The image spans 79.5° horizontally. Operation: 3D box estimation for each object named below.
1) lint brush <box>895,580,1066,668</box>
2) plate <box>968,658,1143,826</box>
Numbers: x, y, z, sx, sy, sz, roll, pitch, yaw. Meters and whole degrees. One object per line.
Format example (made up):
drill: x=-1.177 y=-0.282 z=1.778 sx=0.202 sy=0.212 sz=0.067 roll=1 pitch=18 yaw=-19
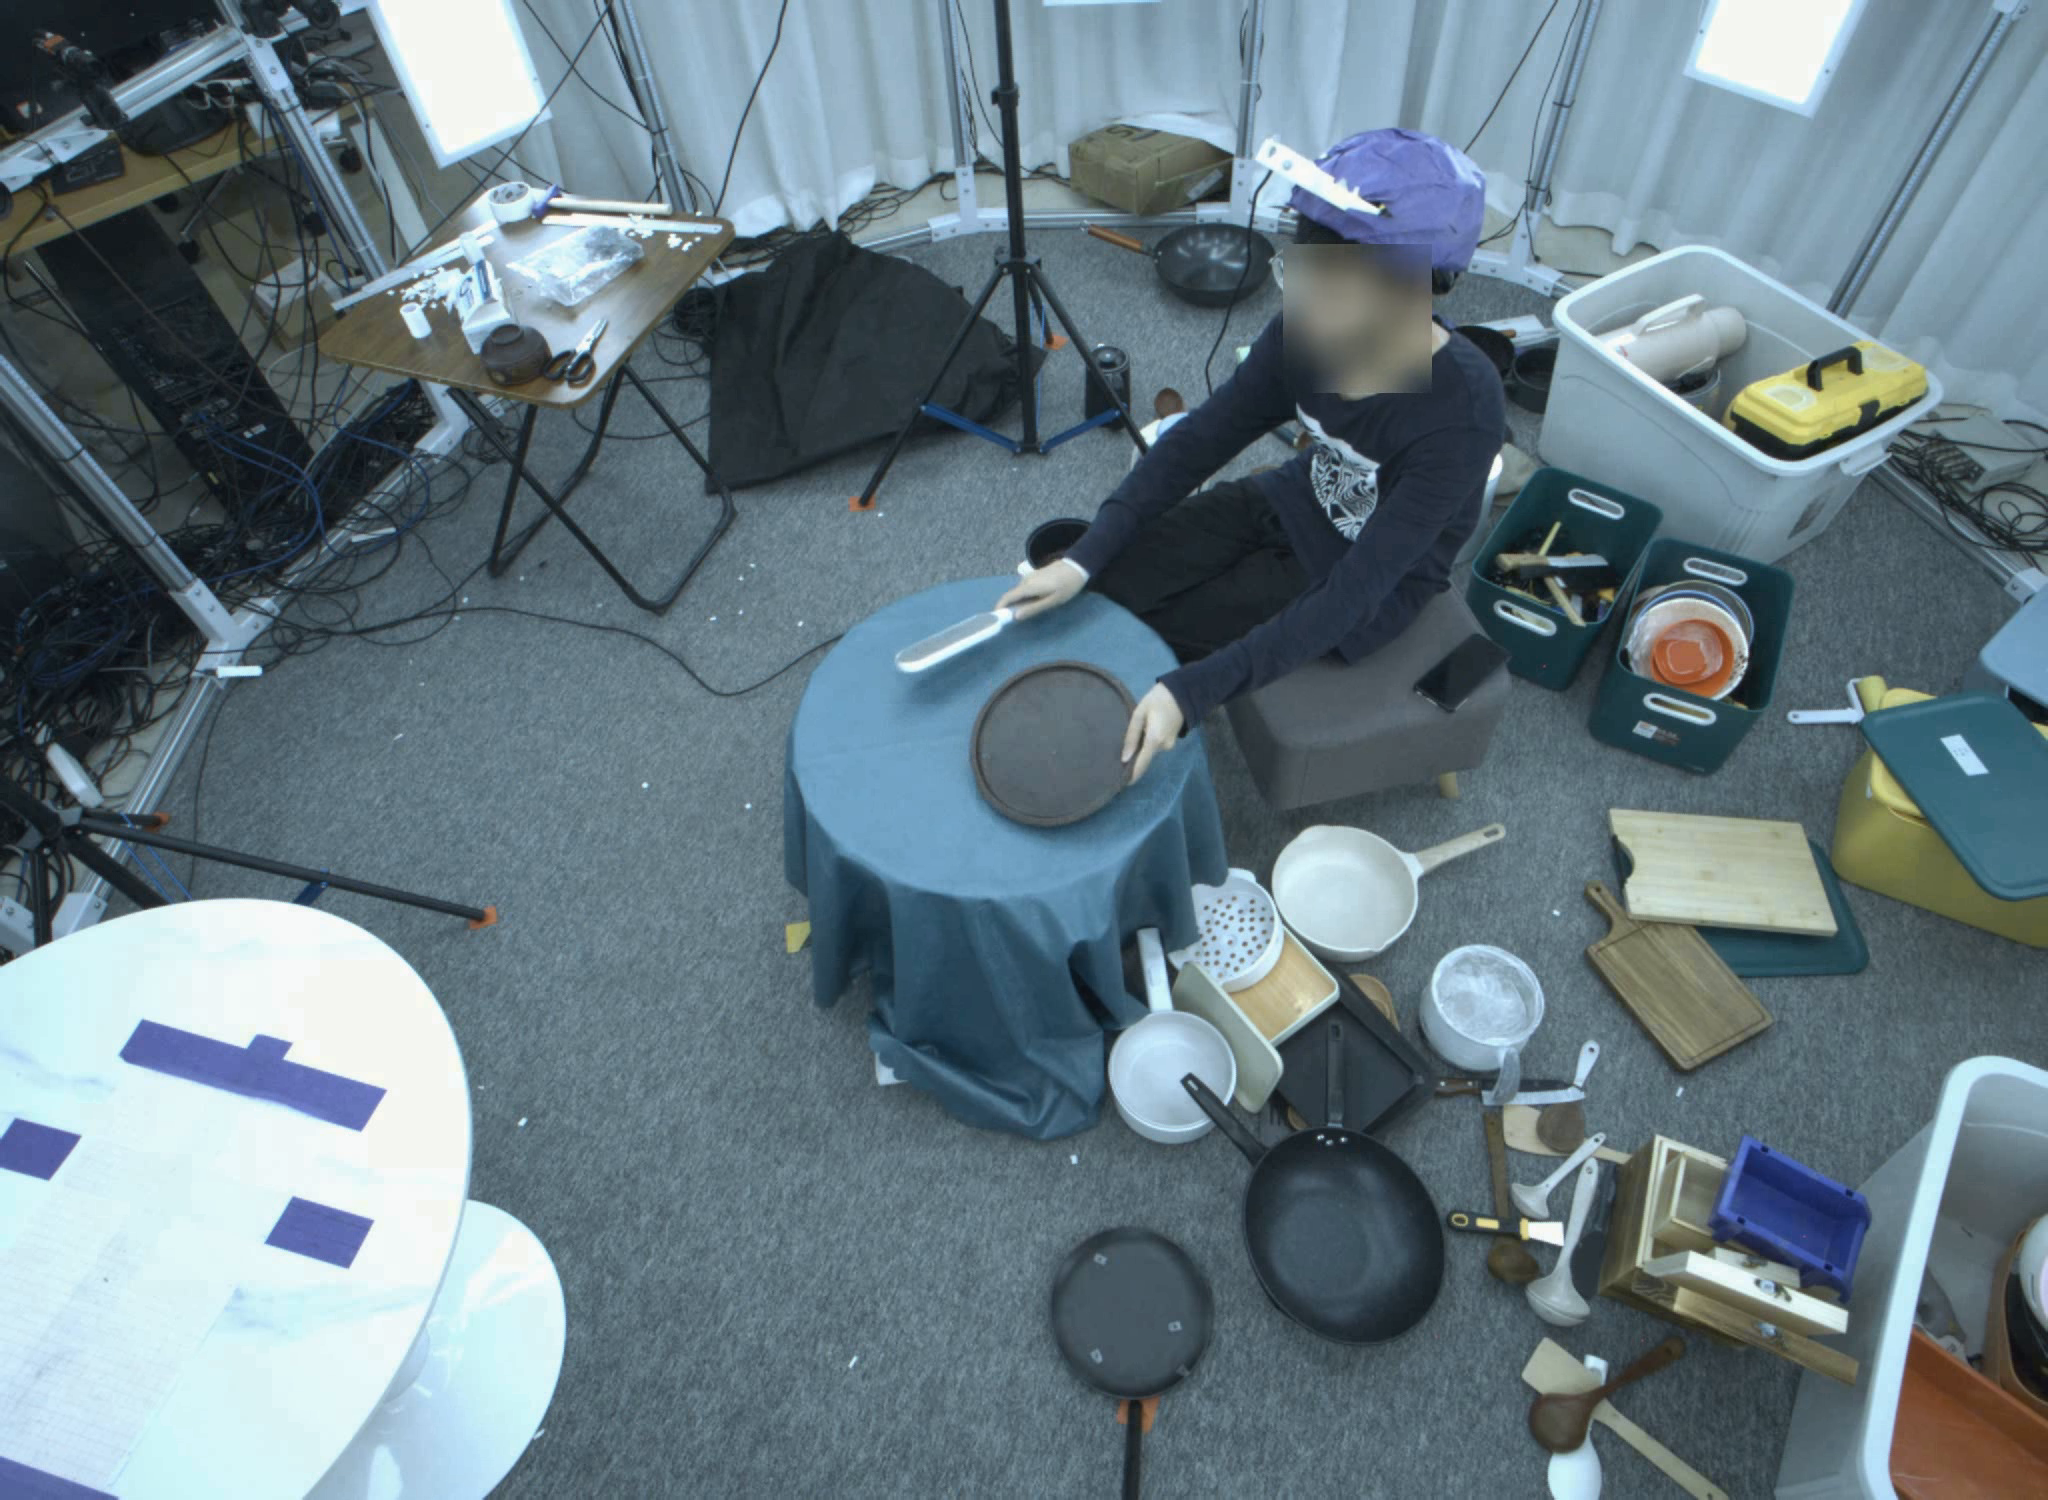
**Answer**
lint brush: x=-0.062 y=-0.195 z=1.873 sx=0.312 sy=0.021 sz=0.058 roll=-28 pitch=32 yaw=-24
plate: x=0.045 y=-0.013 z=1.740 sx=0.252 sy=0.029 sz=0.253 roll=-5 pitch=70 yaw=14
